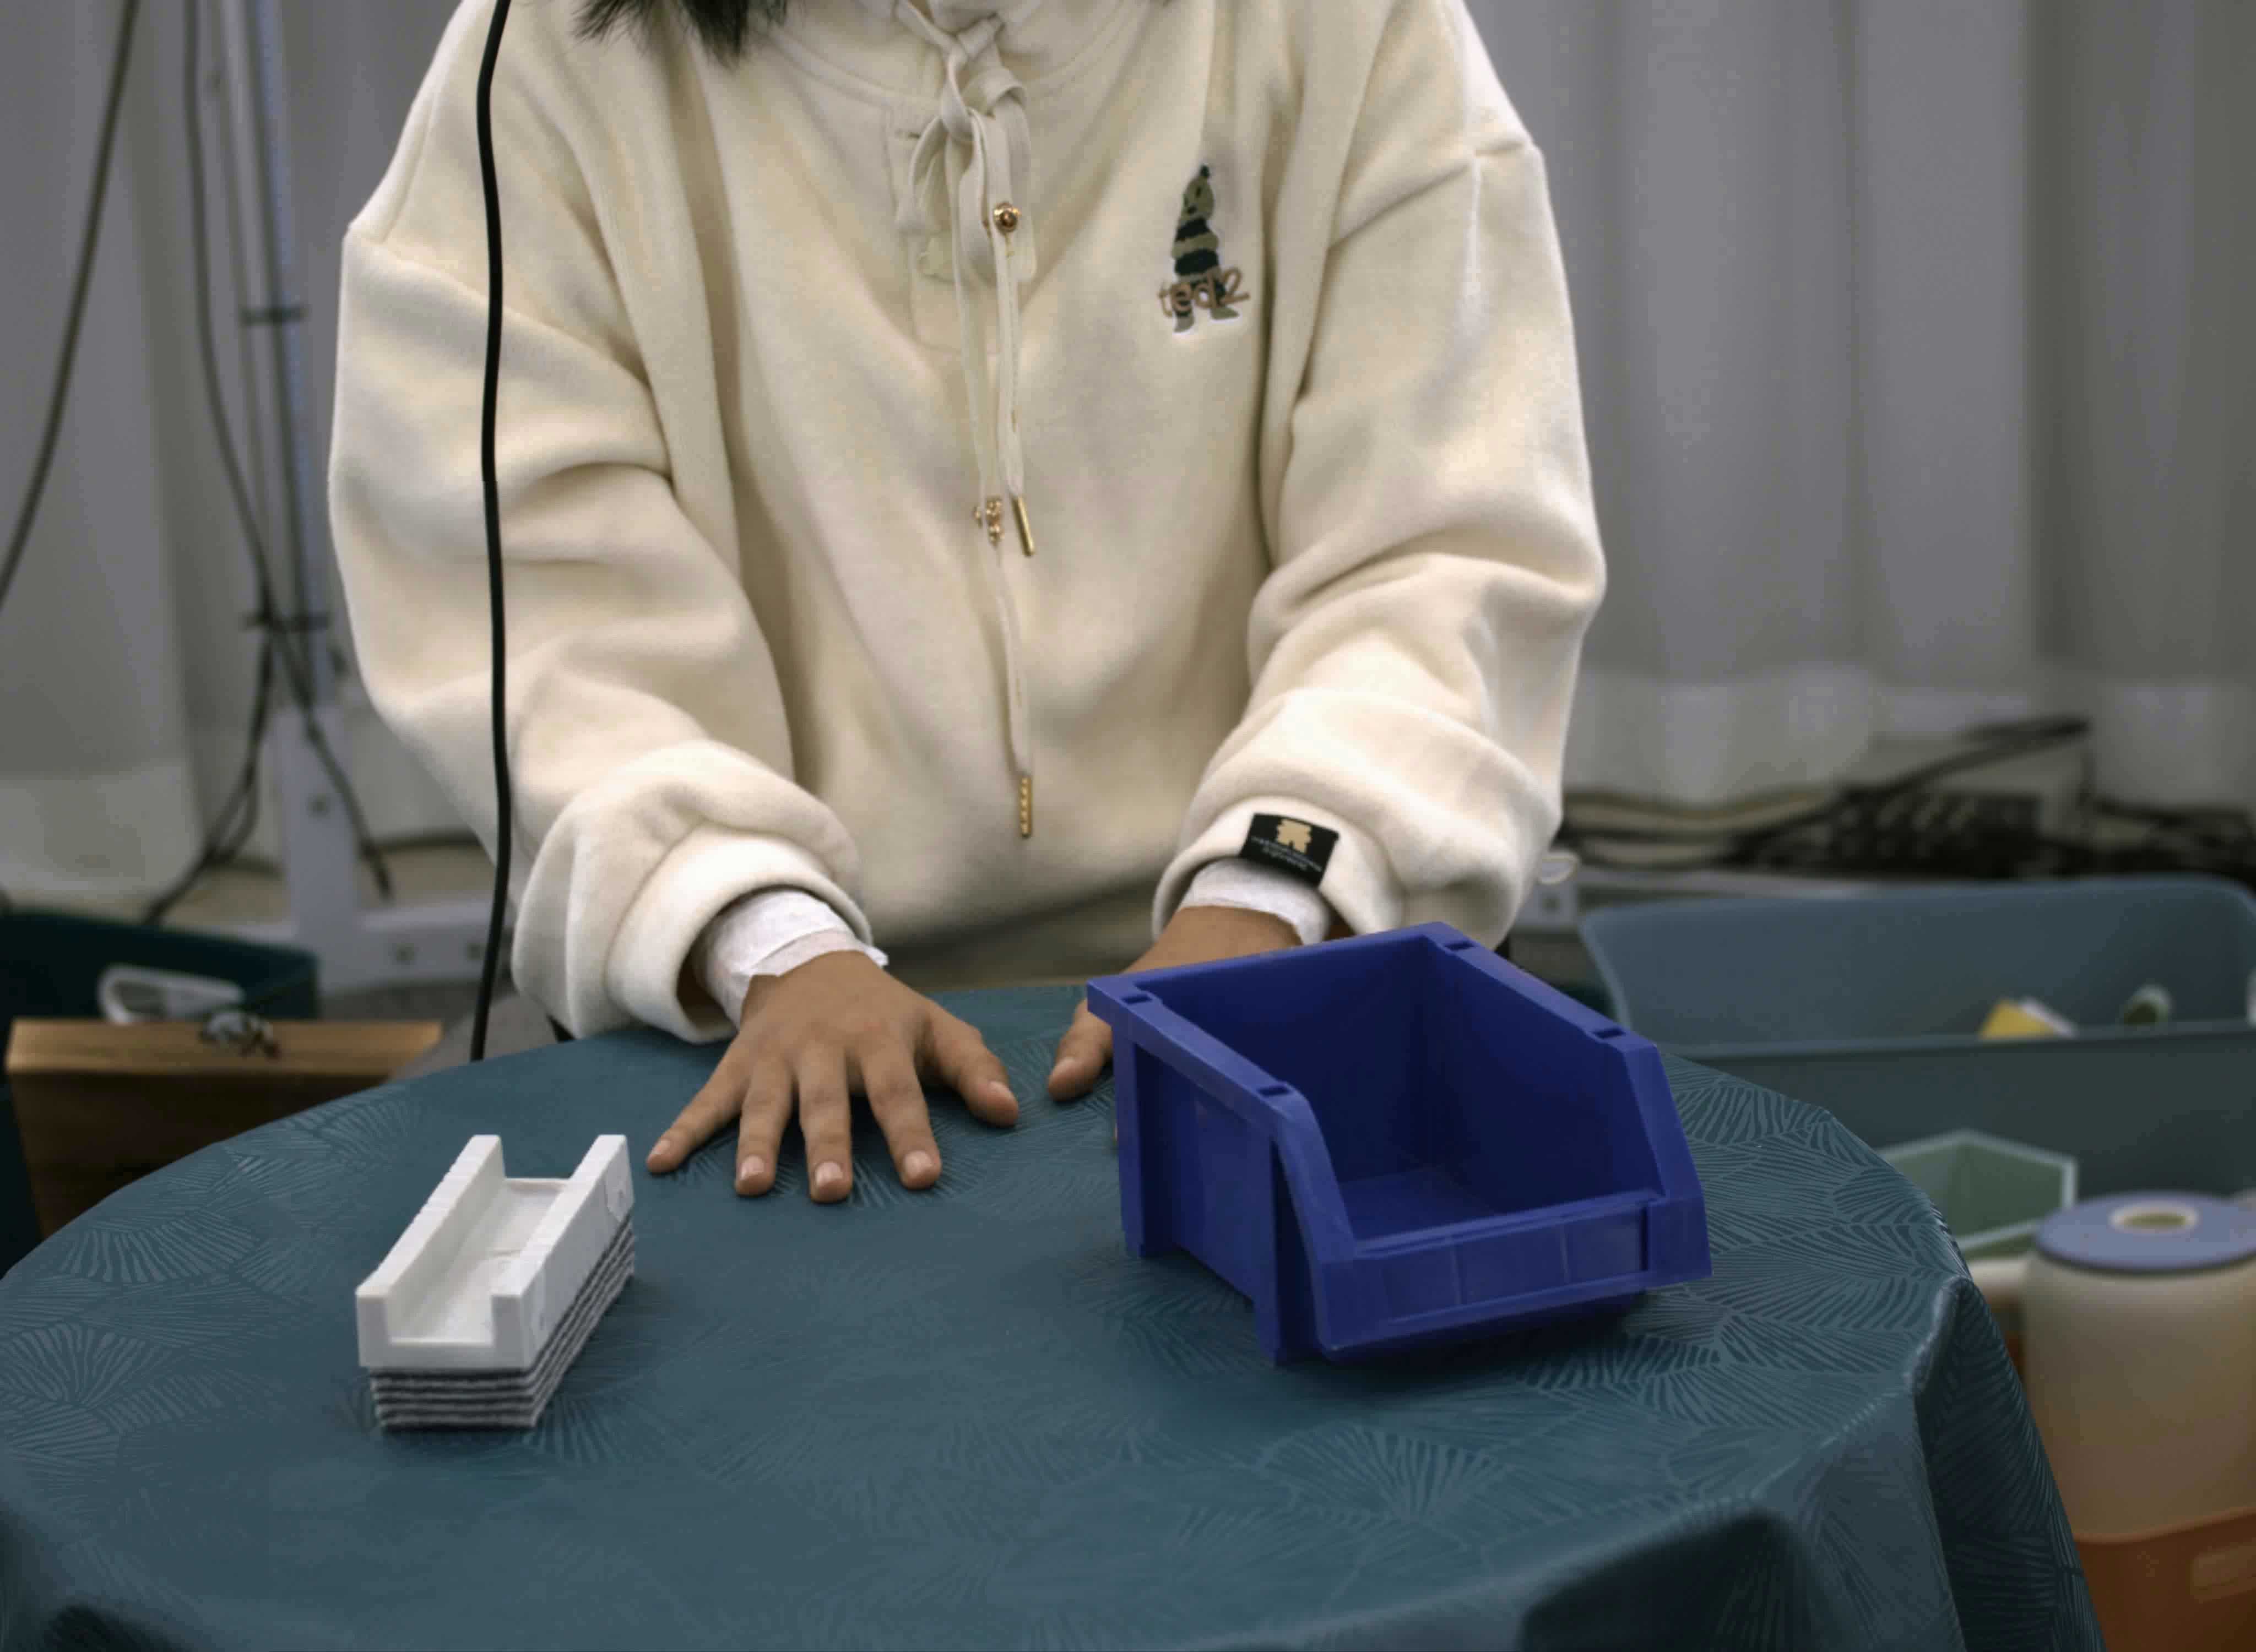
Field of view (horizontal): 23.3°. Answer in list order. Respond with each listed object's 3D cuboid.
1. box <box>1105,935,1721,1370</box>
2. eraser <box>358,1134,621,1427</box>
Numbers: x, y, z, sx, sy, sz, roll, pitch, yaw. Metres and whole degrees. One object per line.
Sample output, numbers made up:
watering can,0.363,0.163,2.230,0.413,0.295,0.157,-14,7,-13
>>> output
box,0.083,0.098,1.604,0.124,0.081,0.180,-8,13,-18
eraser,-0.184,0.131,1.596,0.049,0.046,0.135,-4,16,7
